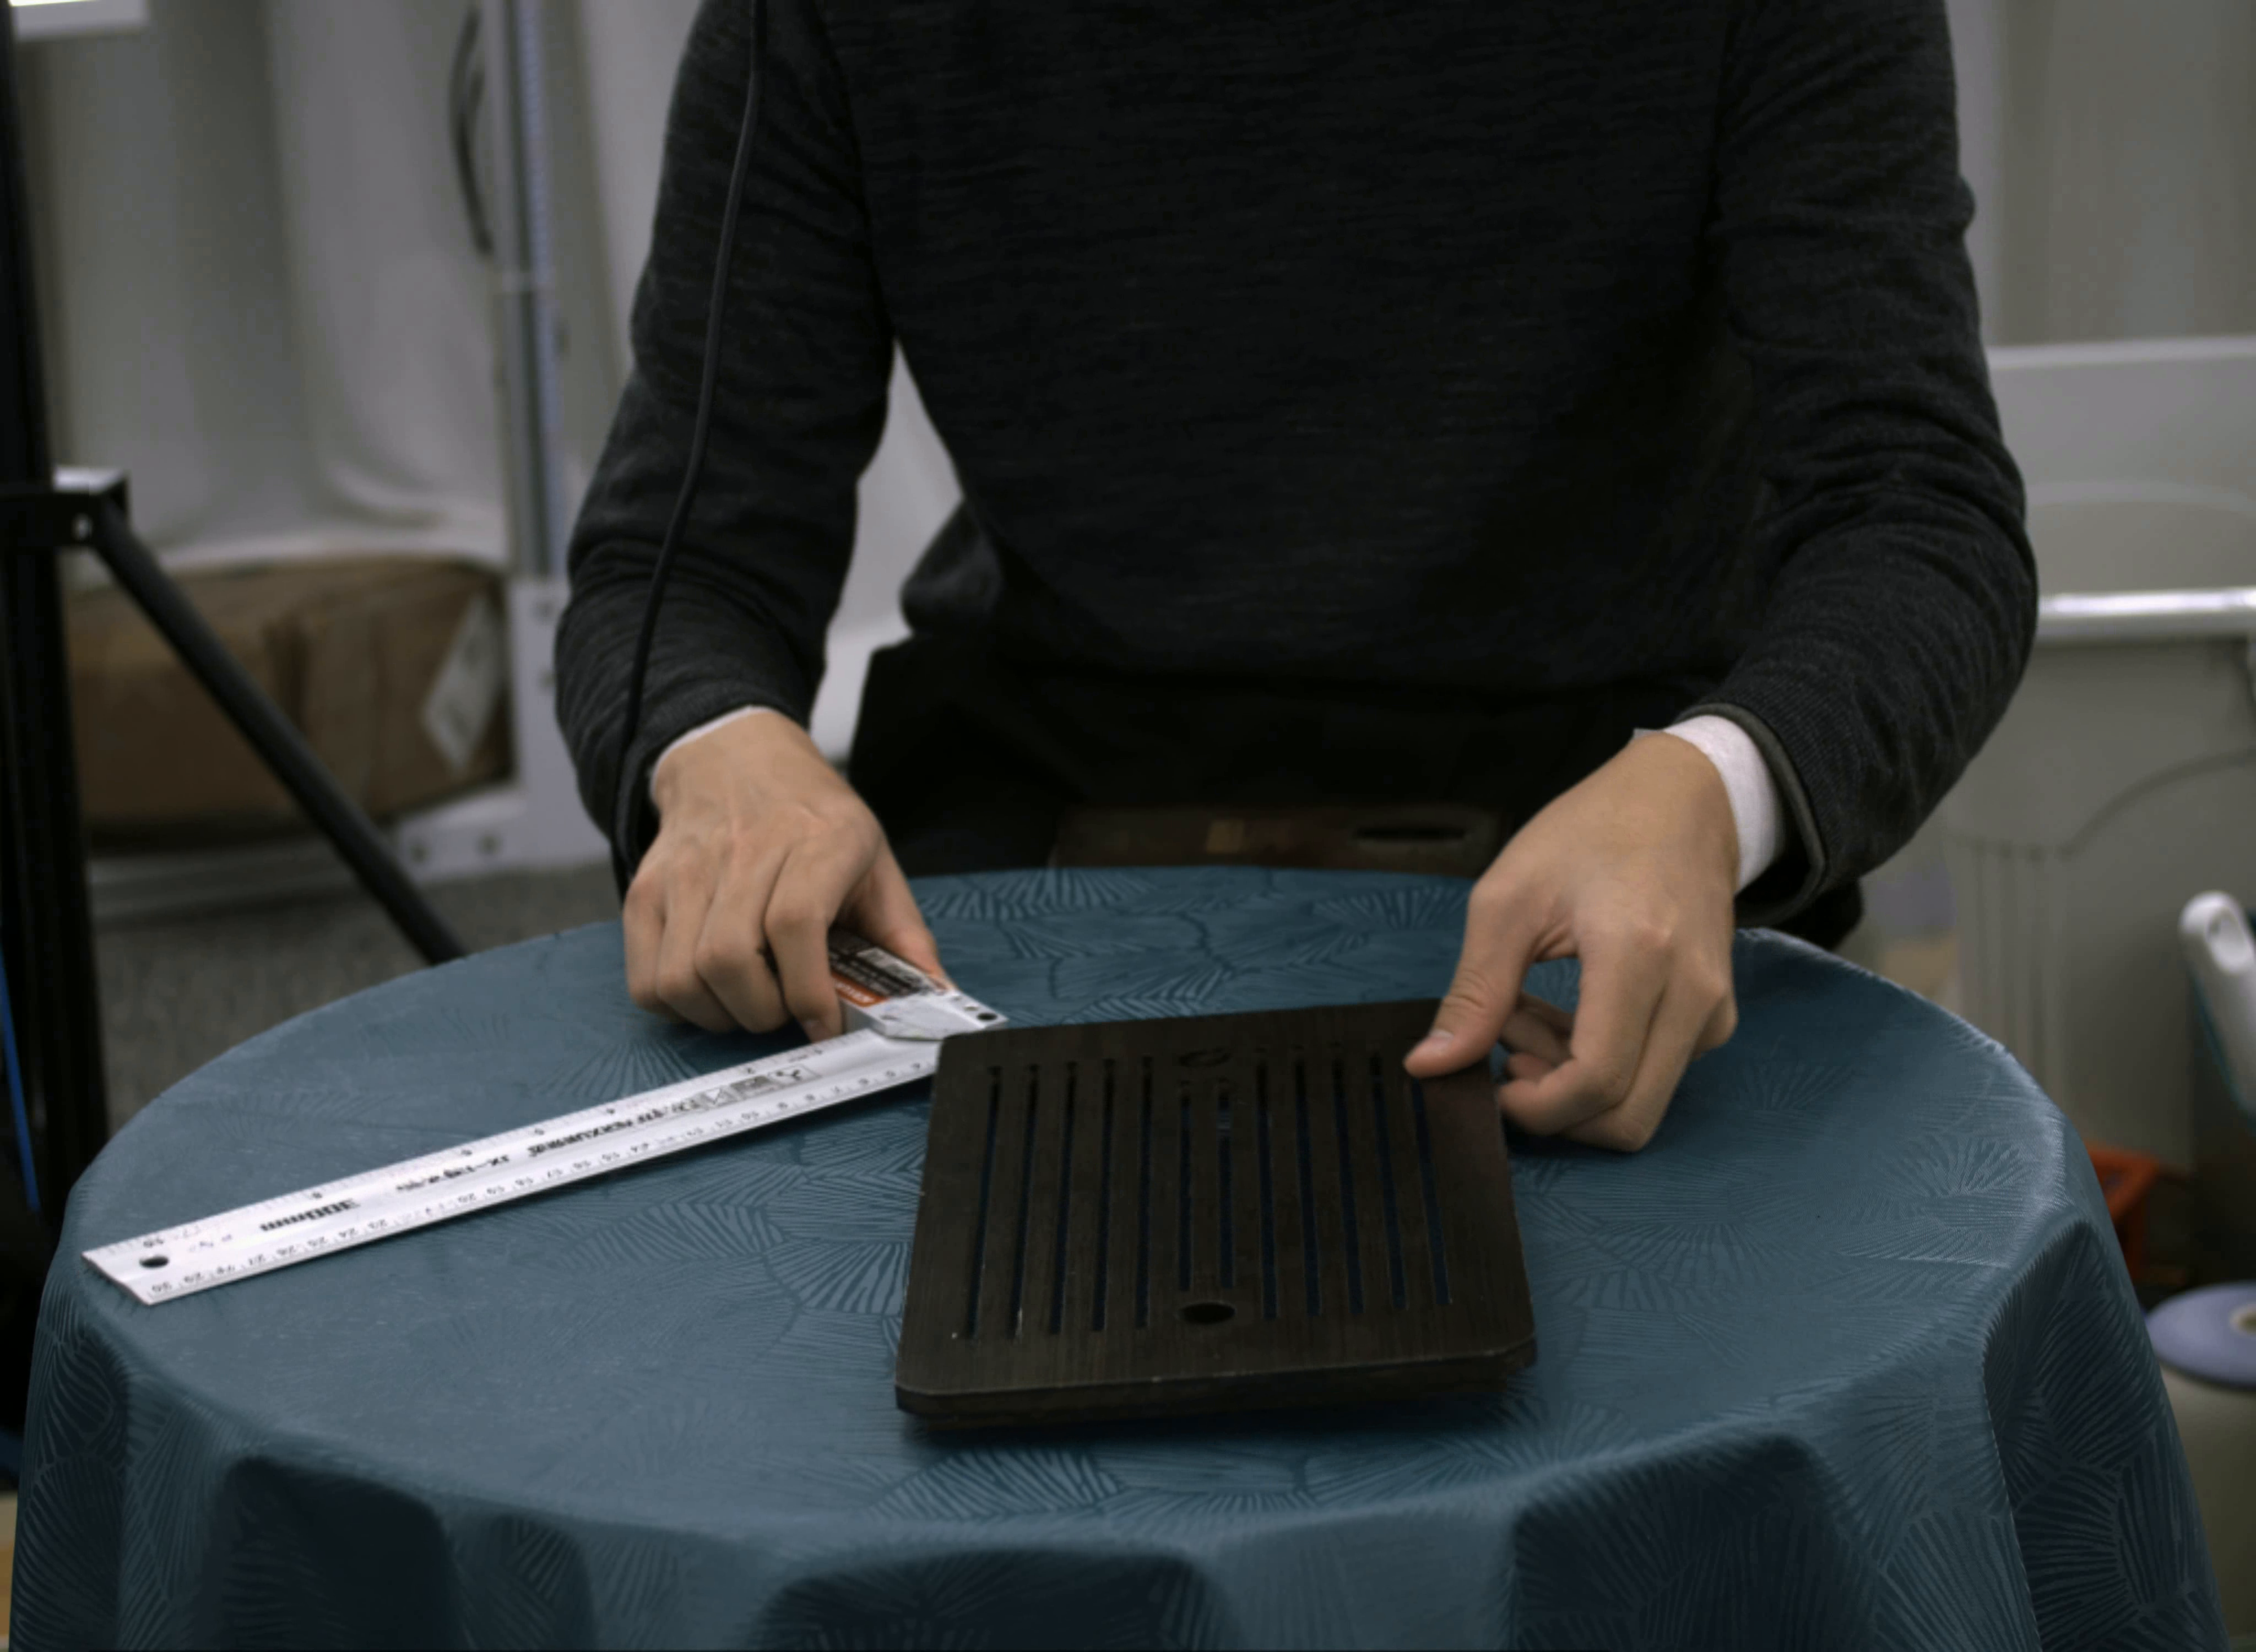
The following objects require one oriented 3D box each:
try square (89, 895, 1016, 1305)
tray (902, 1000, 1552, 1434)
[{"bbox_3d":[-0.196,0.081,1.644,0.306,0.016,0.156,-15,25,-33],"label":"try square"},{"bbox_3d":[0.029,0.108,1.509,0.170,0.018,0.306,-4,16,3],"label":"tray"}]
